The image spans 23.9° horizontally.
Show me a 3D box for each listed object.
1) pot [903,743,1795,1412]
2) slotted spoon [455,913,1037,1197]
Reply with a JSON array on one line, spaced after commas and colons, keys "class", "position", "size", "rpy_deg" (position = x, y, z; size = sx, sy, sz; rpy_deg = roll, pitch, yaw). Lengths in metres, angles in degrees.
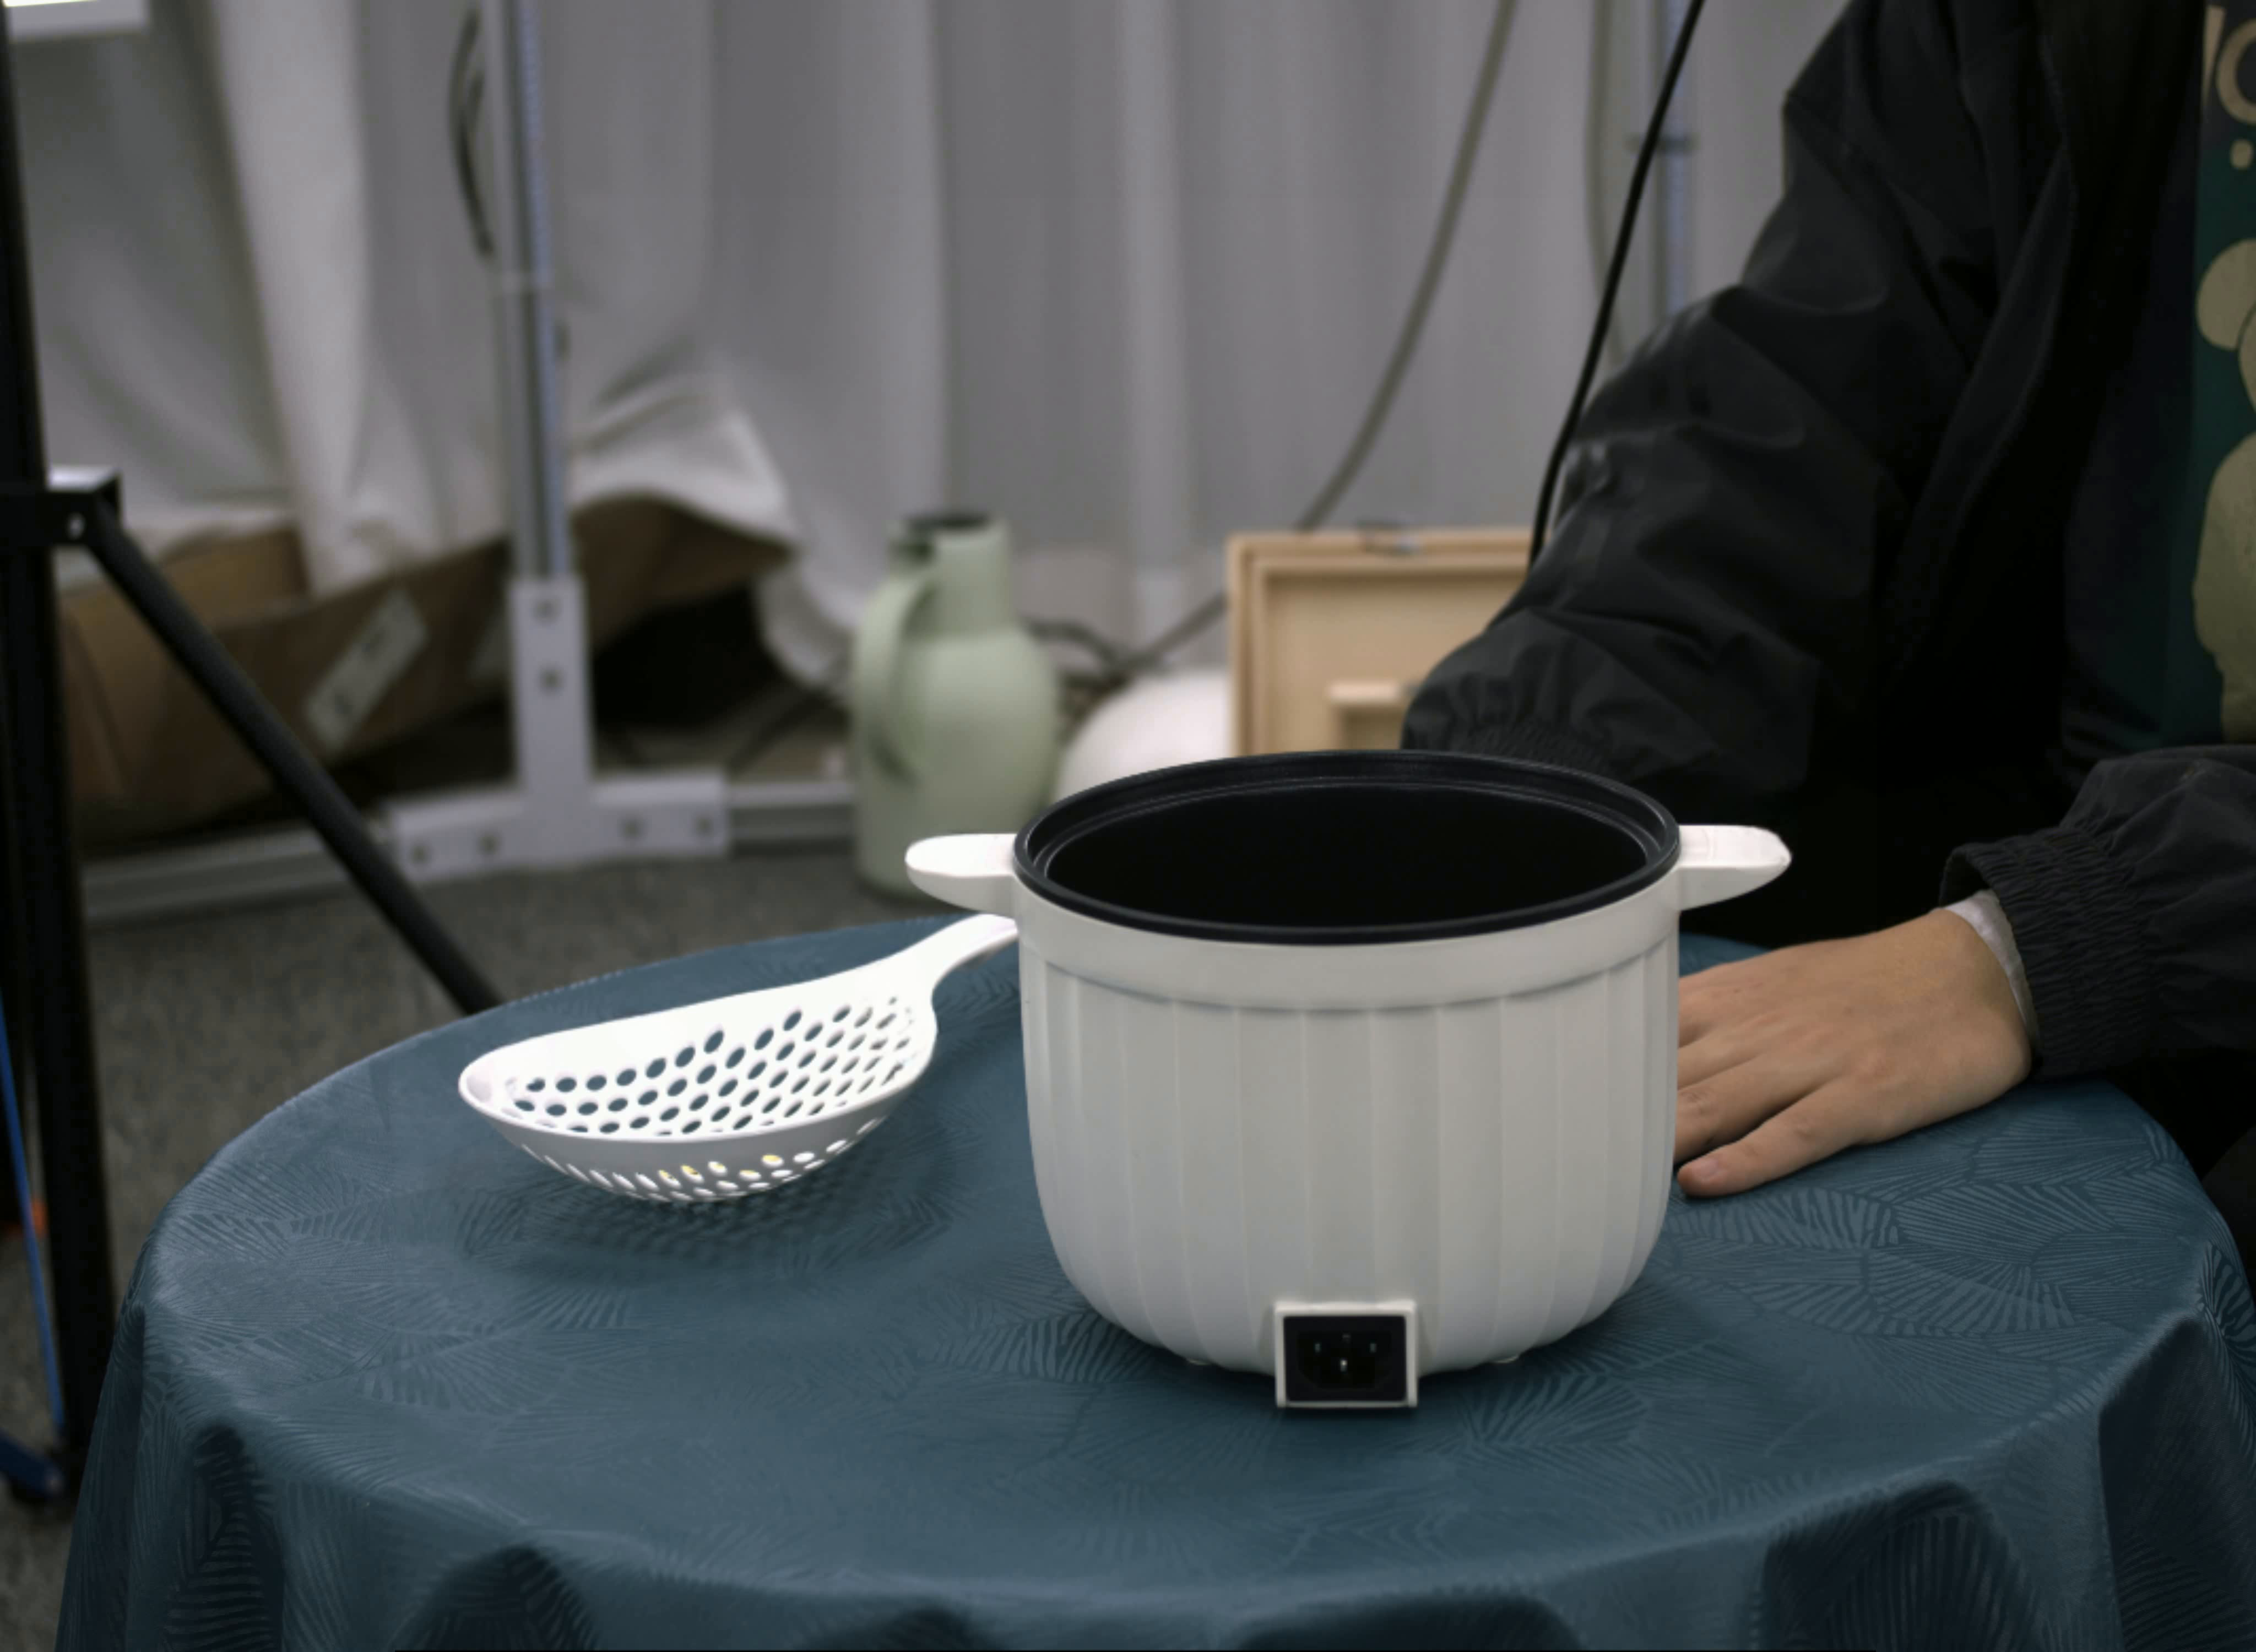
[{"class": "pot", "position": [0.059, 0.065, 1.450], "size": [0.240, 0.142, 0.191], "rpy_deg": [0, 18, 5]}, {"class": "slotted spoon", "position": [-0.079, 0.059, 1.667], "size": [0.139, 0.050, 0.342], "rpy_deg": [4, 17, 26]}]
